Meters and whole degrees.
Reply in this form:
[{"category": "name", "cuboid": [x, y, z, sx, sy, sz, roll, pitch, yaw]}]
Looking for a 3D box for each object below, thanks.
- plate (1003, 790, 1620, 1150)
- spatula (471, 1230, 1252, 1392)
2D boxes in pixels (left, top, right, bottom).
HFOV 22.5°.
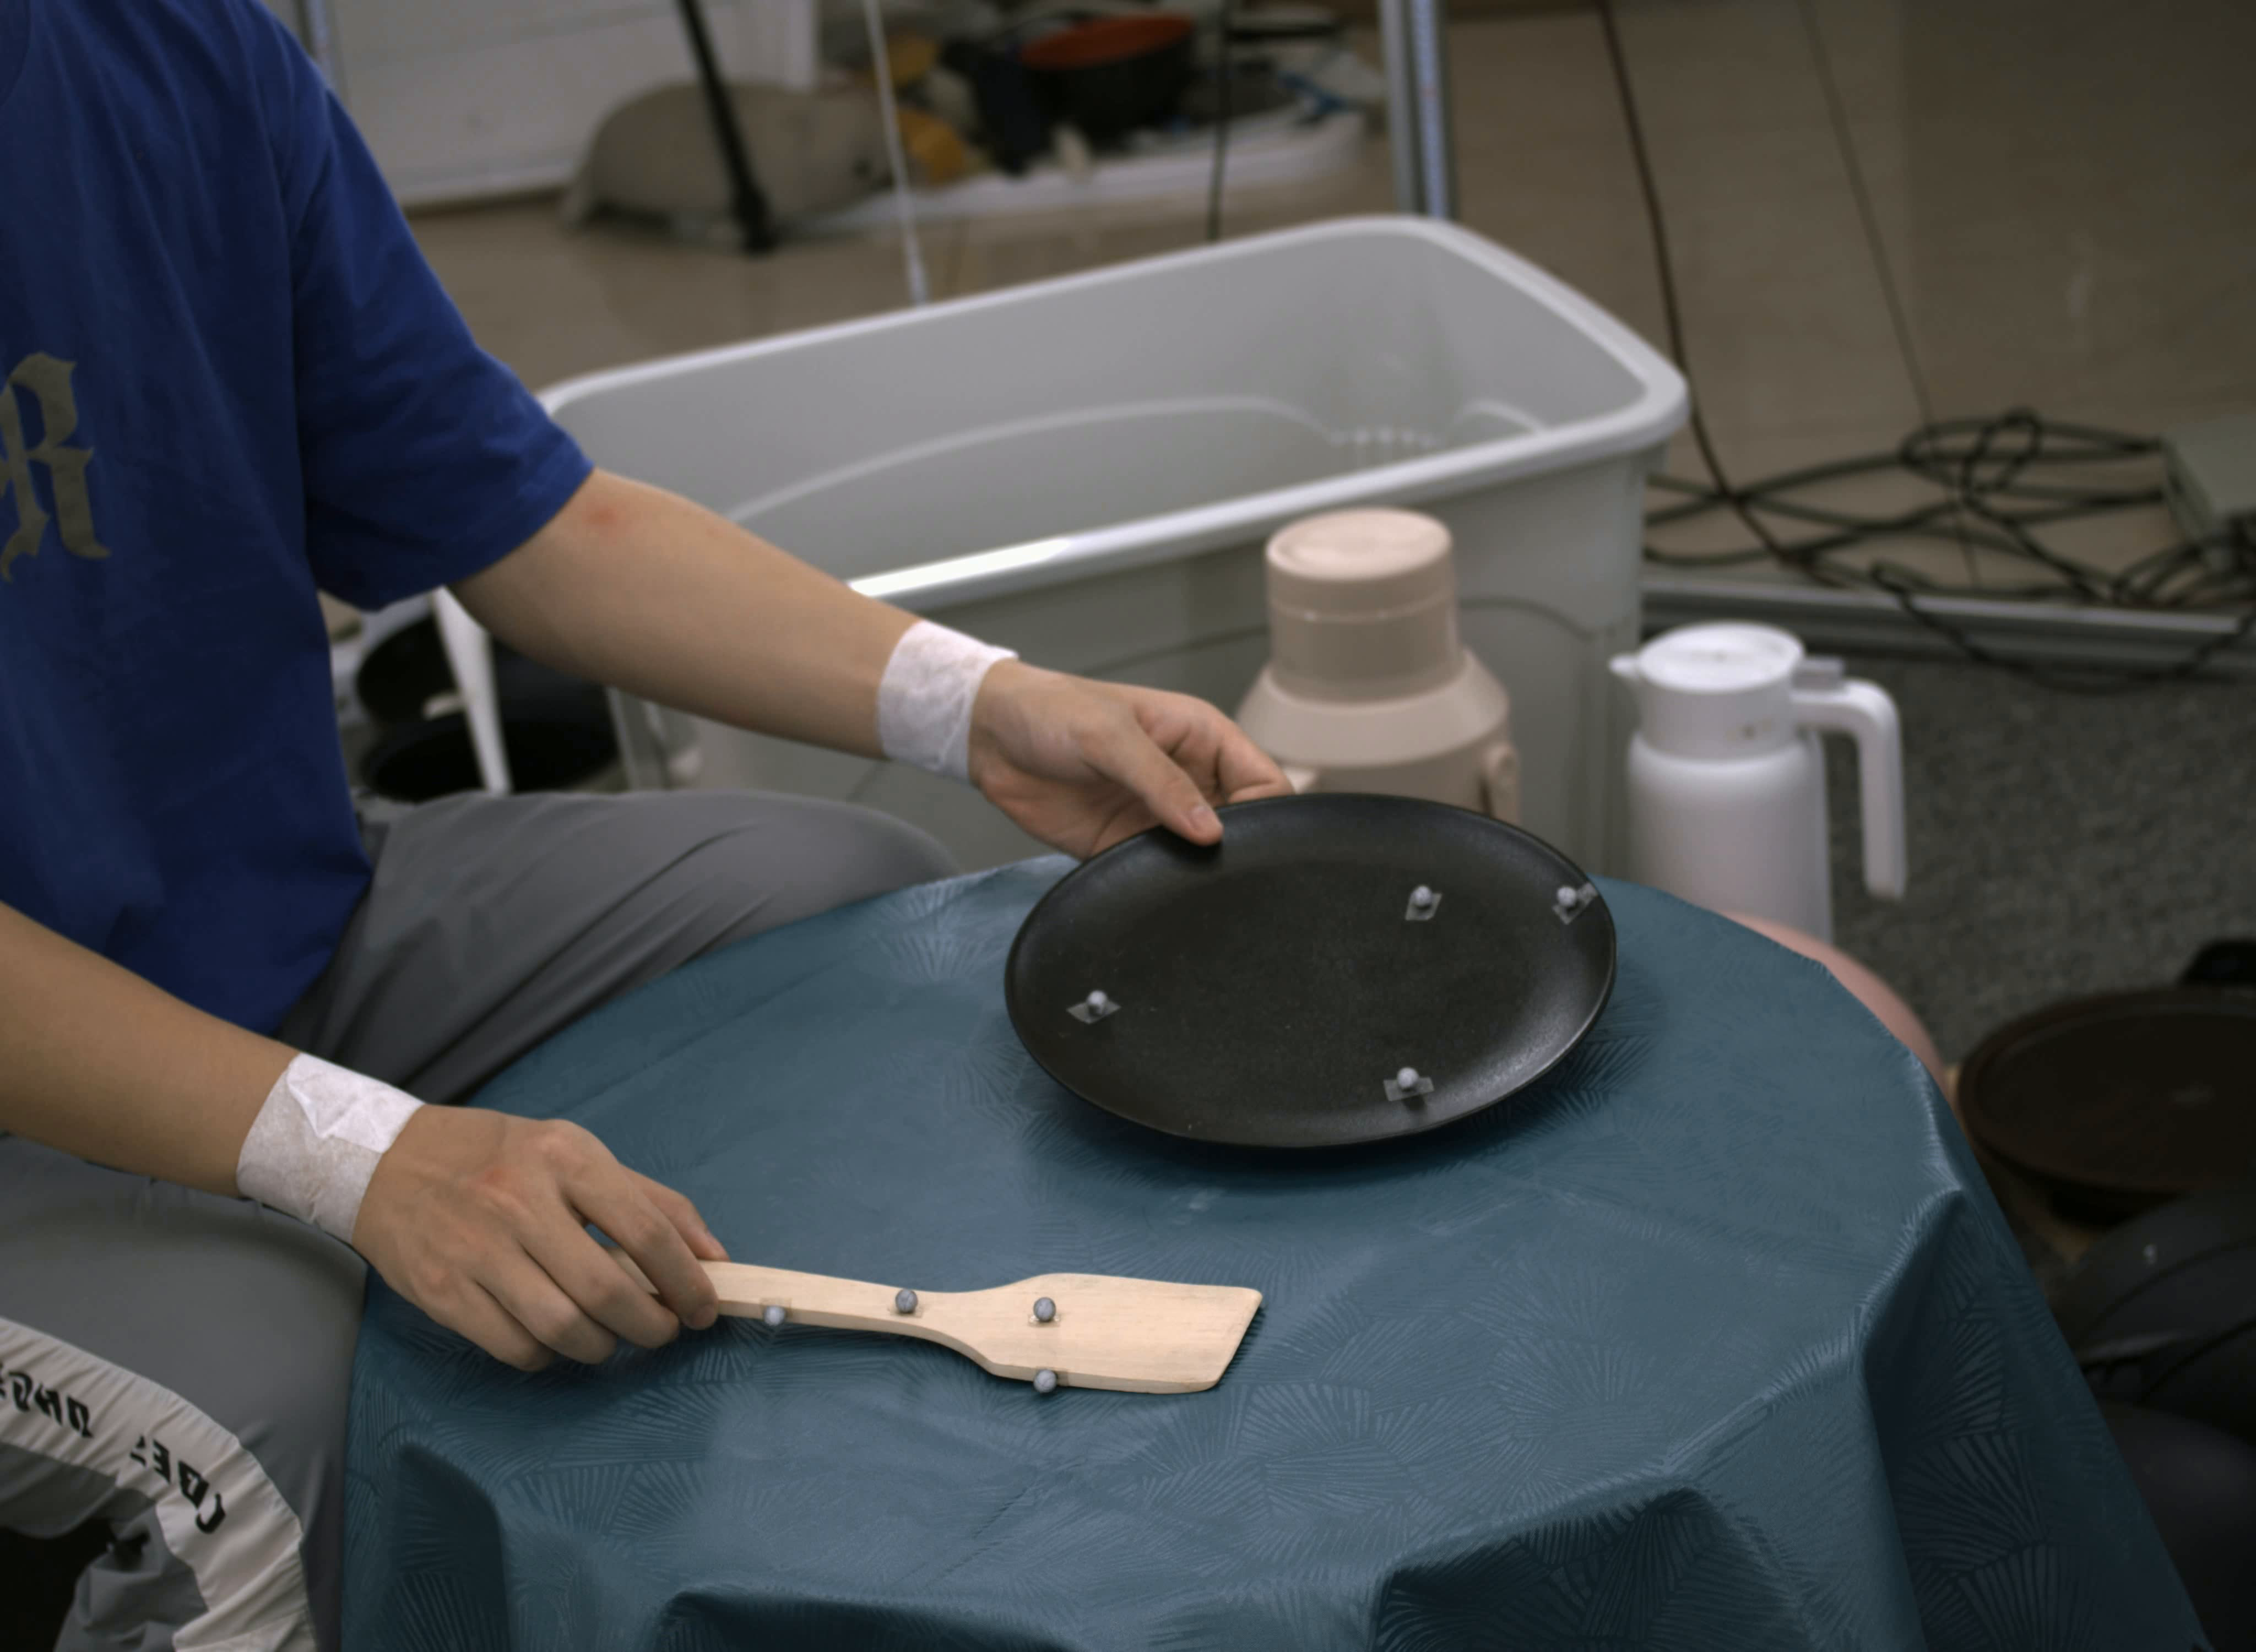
[{"category": "plate", "cuboid": [0.072, 0.061, 2.235, 0.244, 0.024, 0.240, -4, 34, 2]}, {"category": "spatula", "cuboid": [-0.103, 0.173, 2.072, 0.292, 0.011, 0.071, 5, 27, 15]}]
